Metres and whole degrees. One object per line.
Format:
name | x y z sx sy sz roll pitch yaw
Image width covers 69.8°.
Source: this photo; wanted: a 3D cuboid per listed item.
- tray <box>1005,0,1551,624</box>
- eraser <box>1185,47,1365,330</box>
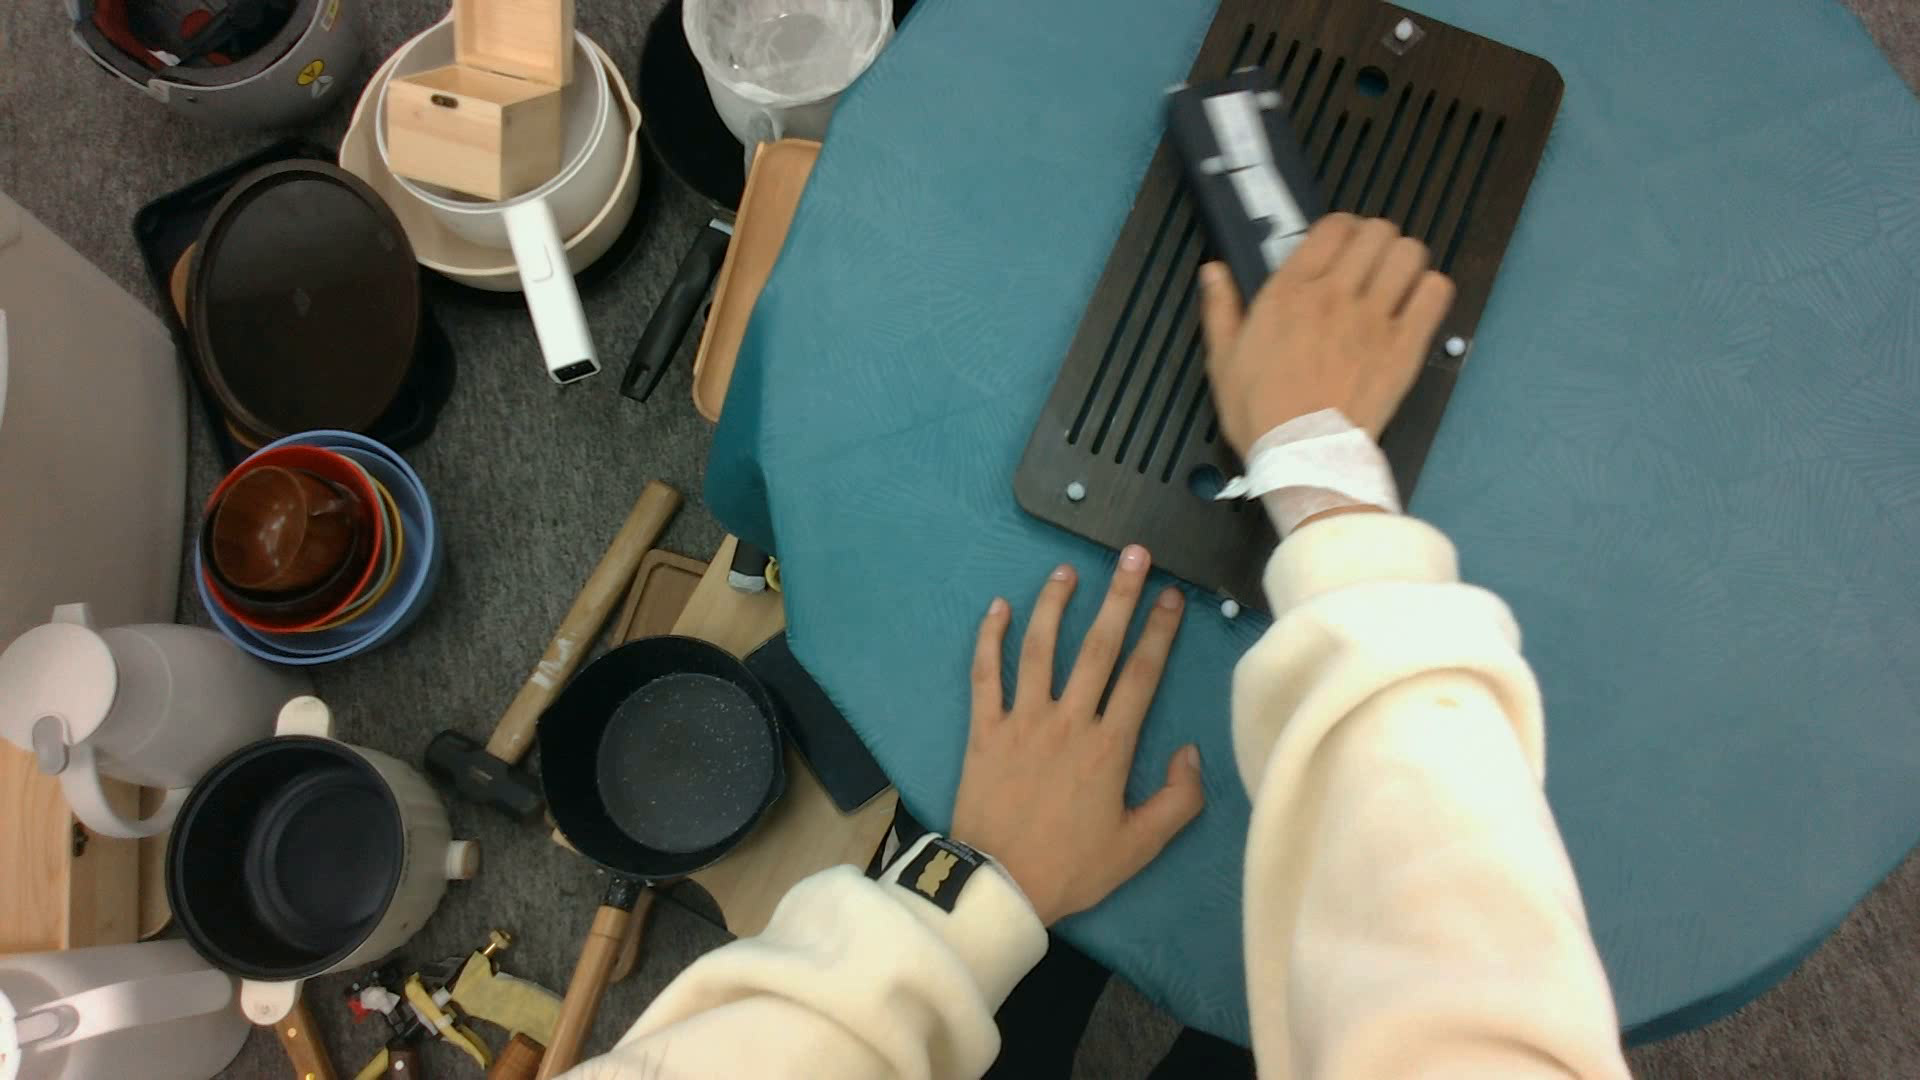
tray | 0.154 -0.126 0.654 0.170 0.018 0.306 23 78 6
eraser | 0.144 -0.163 0.642 0.053 0.030 0.125 -13 79 2
